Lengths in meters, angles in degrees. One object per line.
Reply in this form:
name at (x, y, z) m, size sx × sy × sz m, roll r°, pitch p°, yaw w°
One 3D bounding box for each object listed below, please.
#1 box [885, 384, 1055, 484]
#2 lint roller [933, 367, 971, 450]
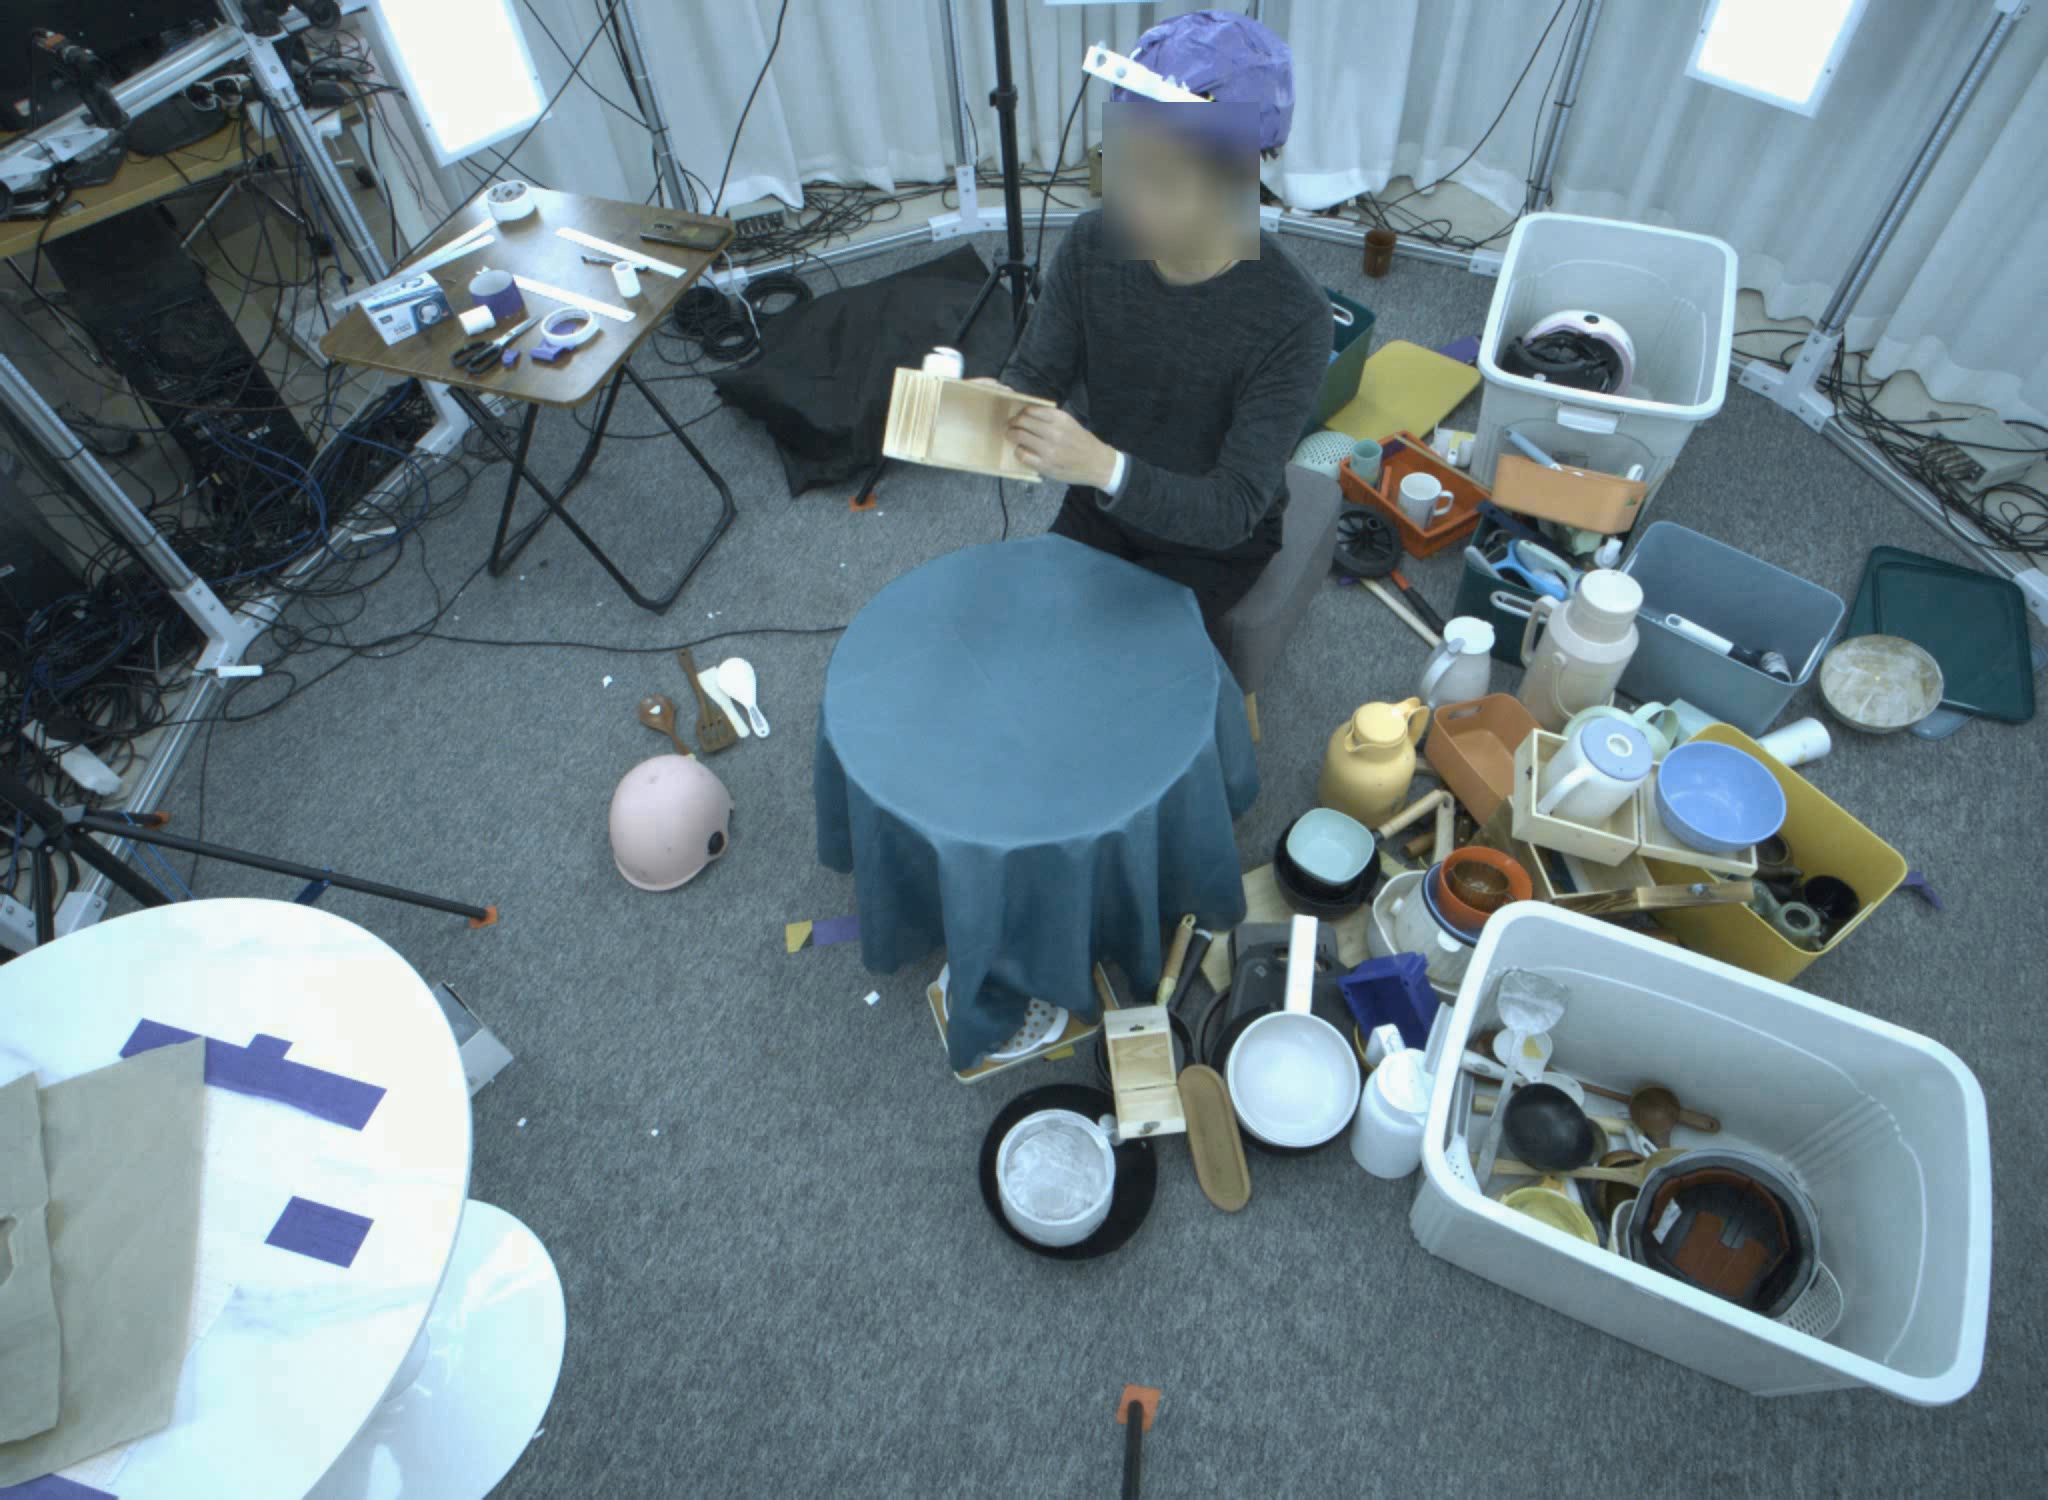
box at (-0.067, -0.399, 1.510) m, size 0.078 × 0.108 × 0.215 m, roll 22°, pitch 18°, yaw 36°
lint roller at (-0.085, -0.447, 1.604) m, size 0.049 × 0.182 × 0.133 m, roll 16°, pitch 102°, yaw 15°
